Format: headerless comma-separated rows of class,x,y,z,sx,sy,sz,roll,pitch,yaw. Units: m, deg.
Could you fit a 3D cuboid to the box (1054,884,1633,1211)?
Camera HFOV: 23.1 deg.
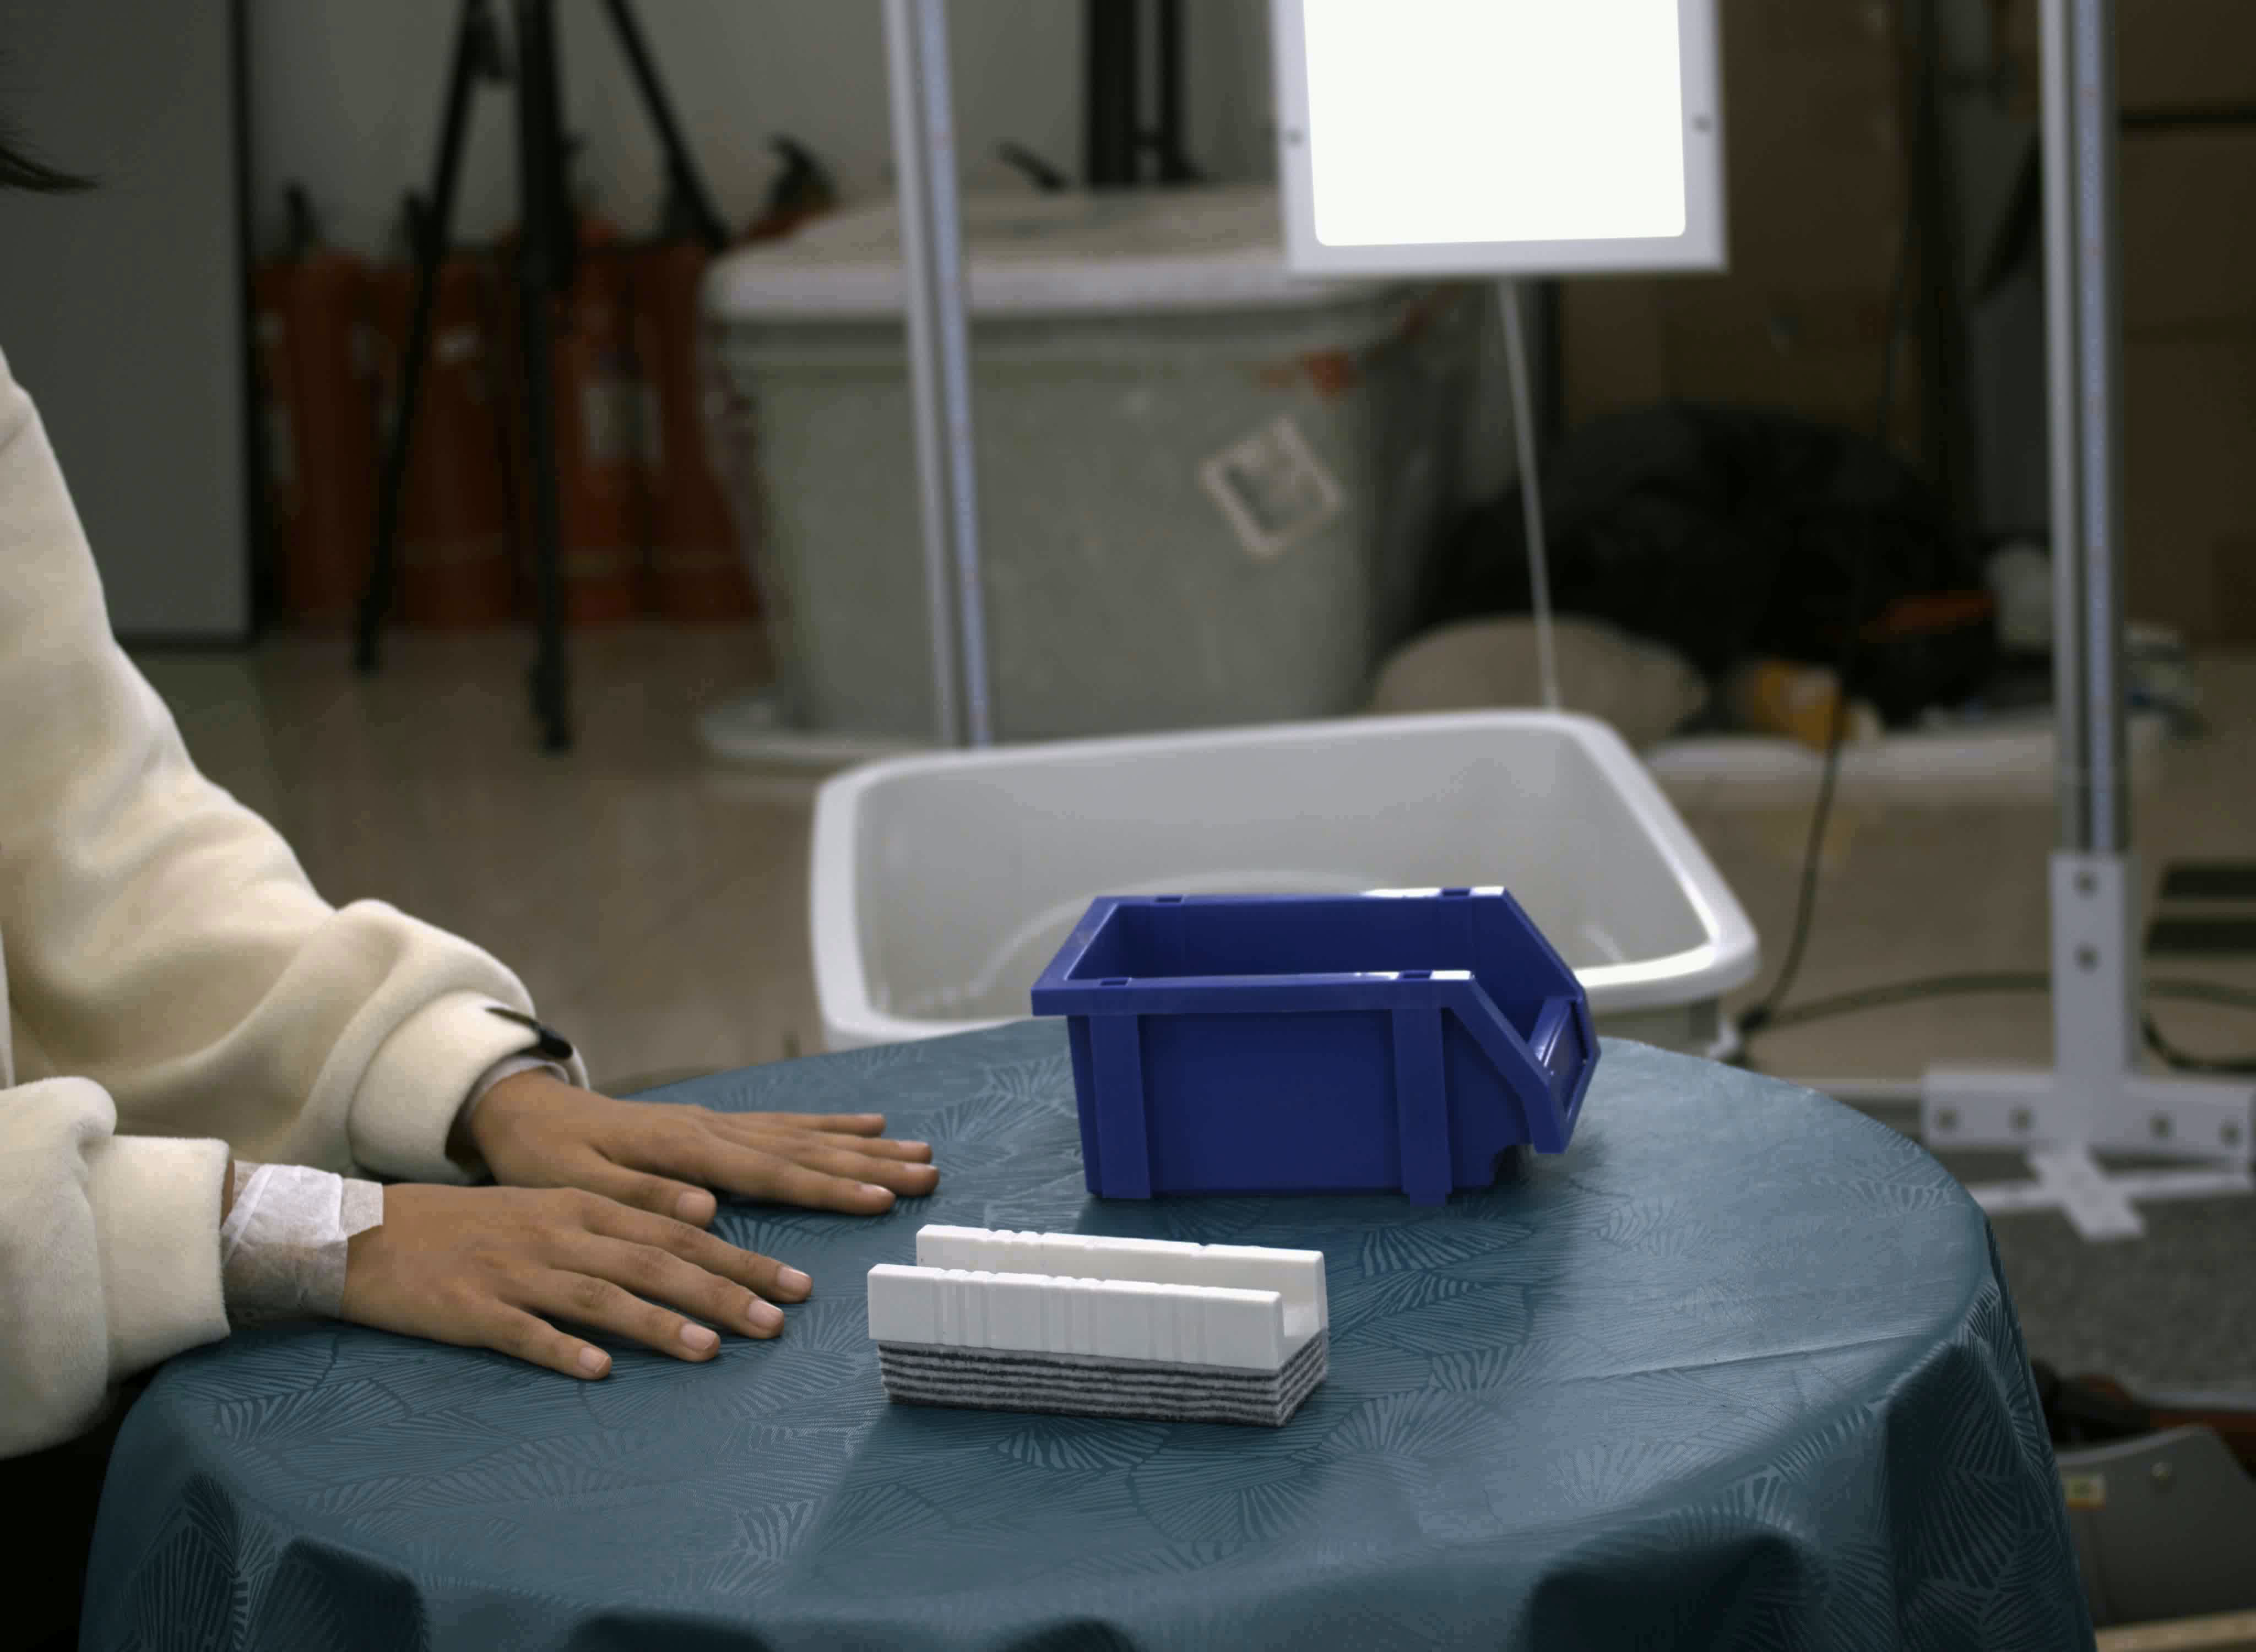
box,0.078,0.075,1.908,0.181,0.082,0.123,-3,14,15

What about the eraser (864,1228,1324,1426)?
eraser,-0.010,0.153,1.693,0.136,0.047,0.049,2,17,21
